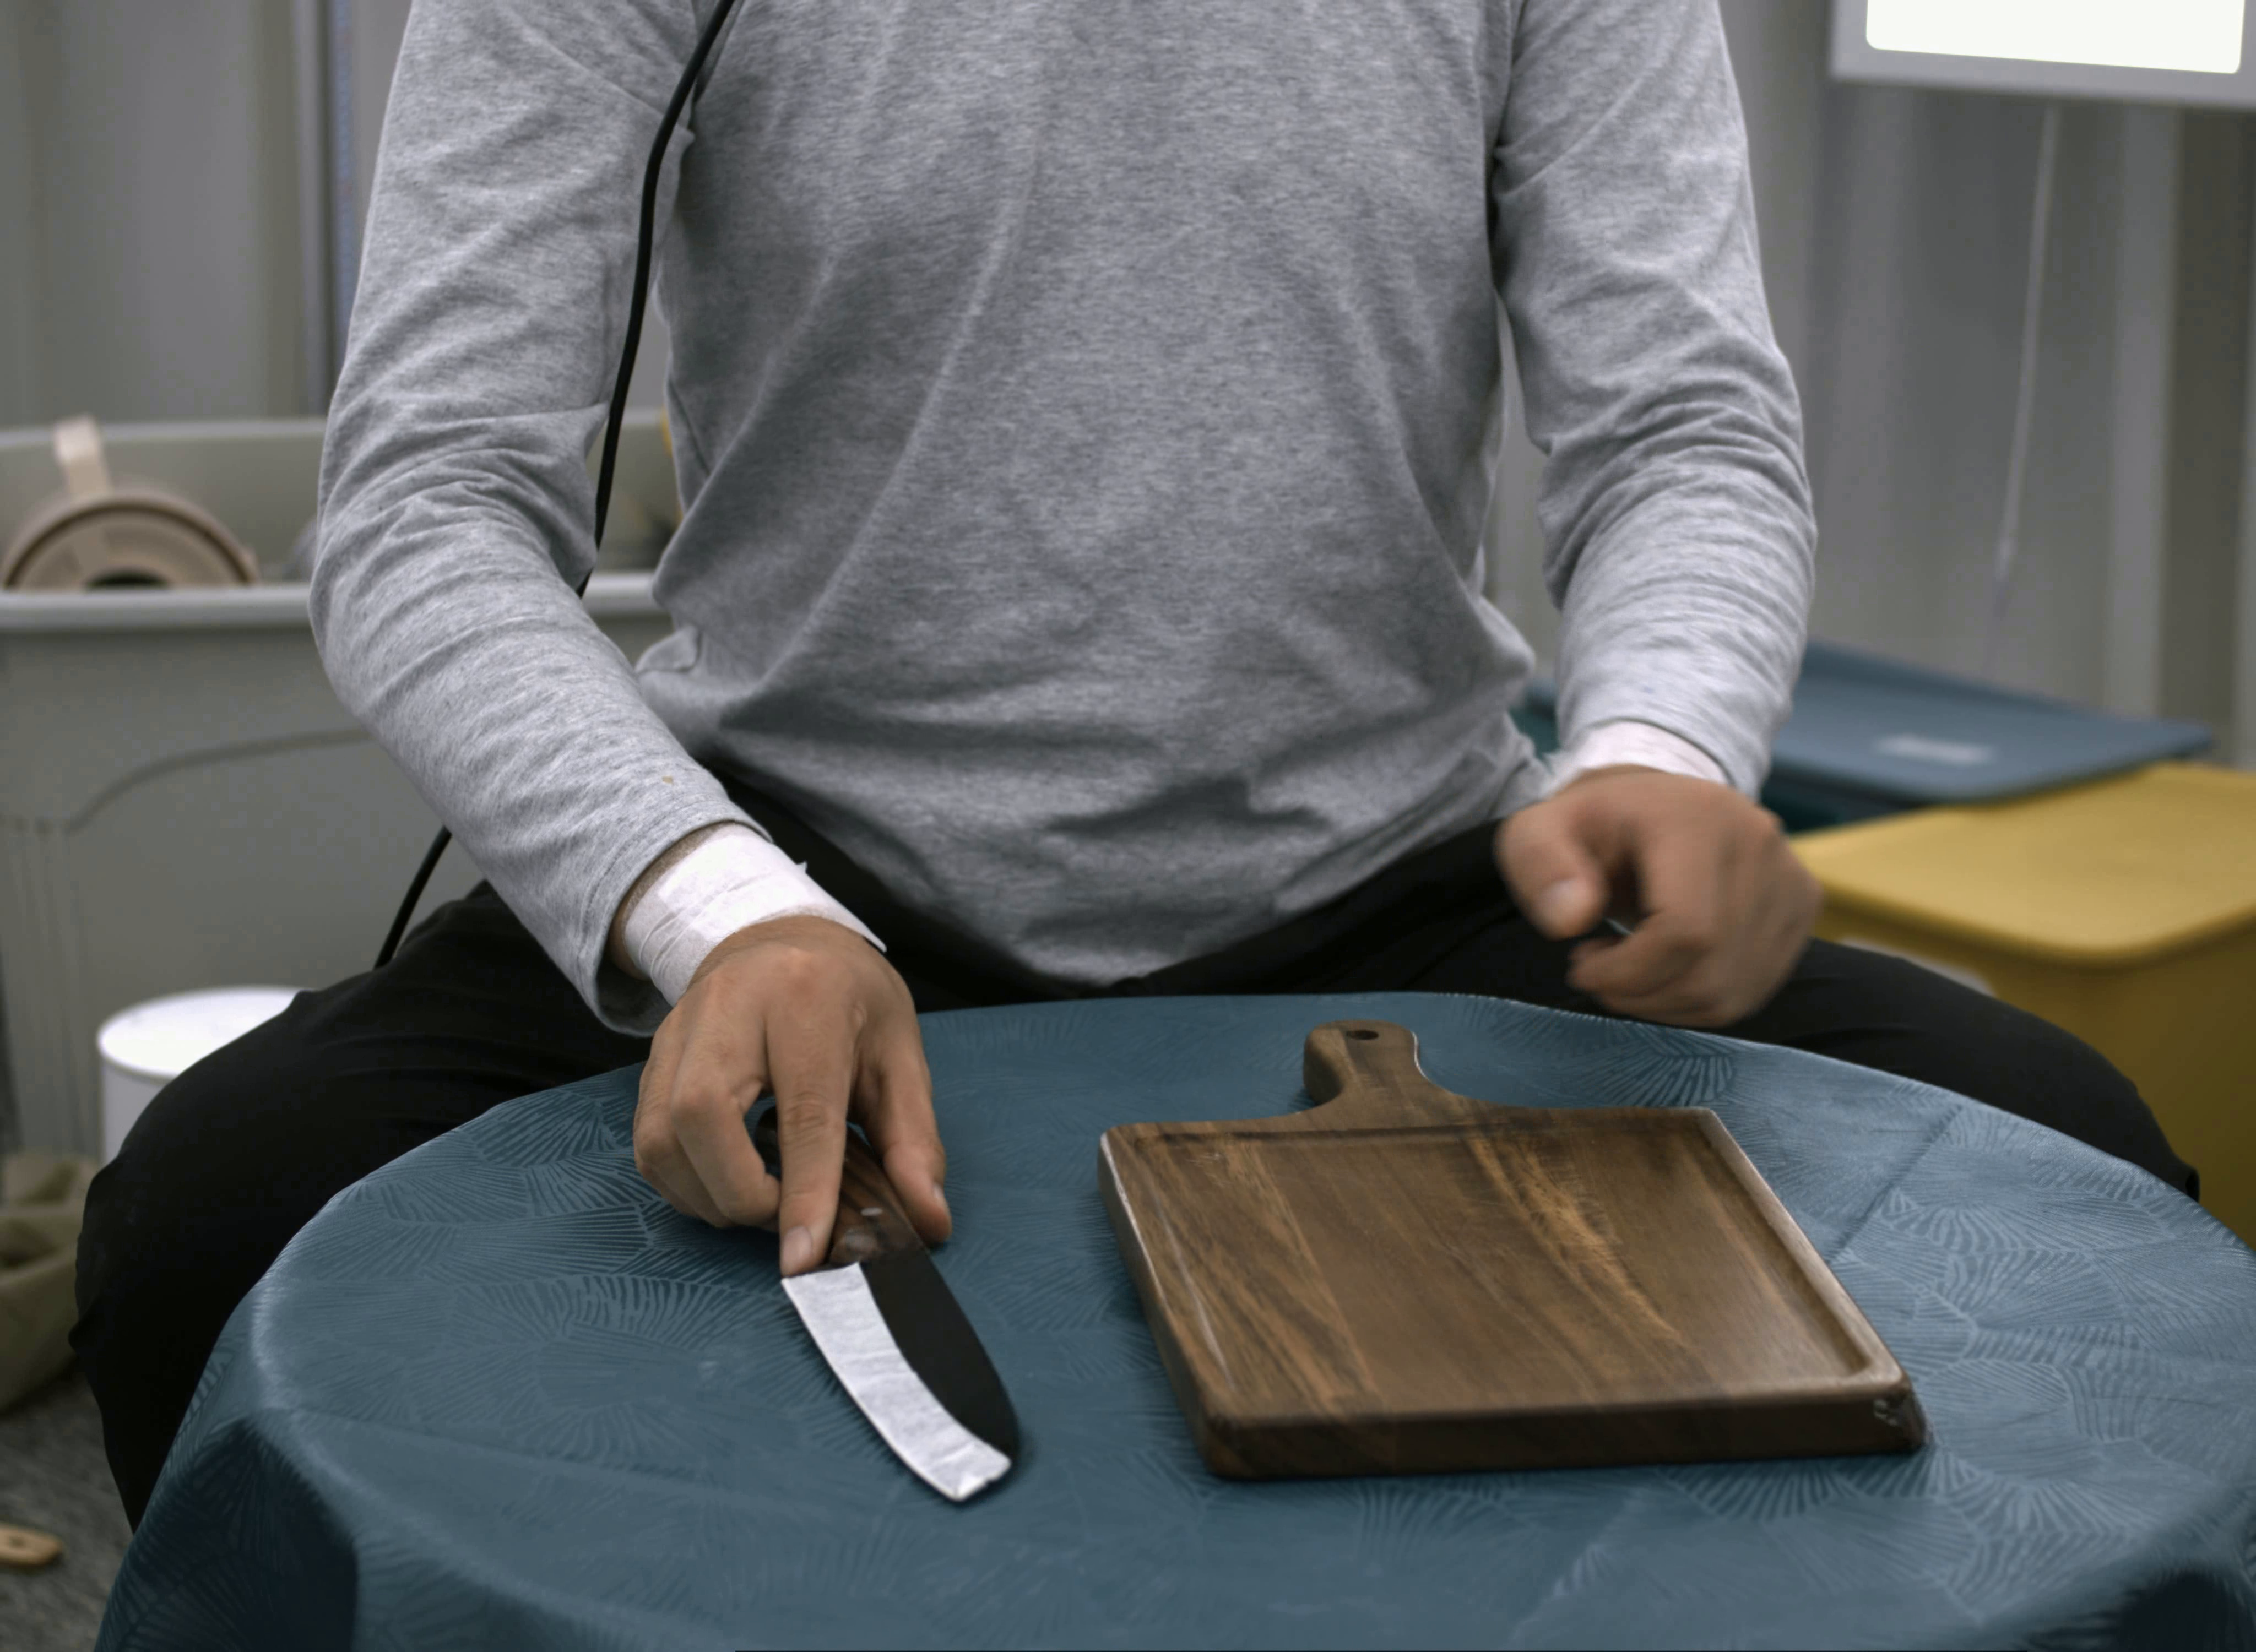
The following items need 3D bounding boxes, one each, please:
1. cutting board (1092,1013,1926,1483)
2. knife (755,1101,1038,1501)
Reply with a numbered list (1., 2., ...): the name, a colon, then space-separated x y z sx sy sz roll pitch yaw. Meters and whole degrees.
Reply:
1. cutting board: 0.096 0.117 1.572 0.201 0.023 0.349 -1 16 -8
2. knife: -0.072 0.135 1.512 0.050 0.020 0.286 -9 19 -11
